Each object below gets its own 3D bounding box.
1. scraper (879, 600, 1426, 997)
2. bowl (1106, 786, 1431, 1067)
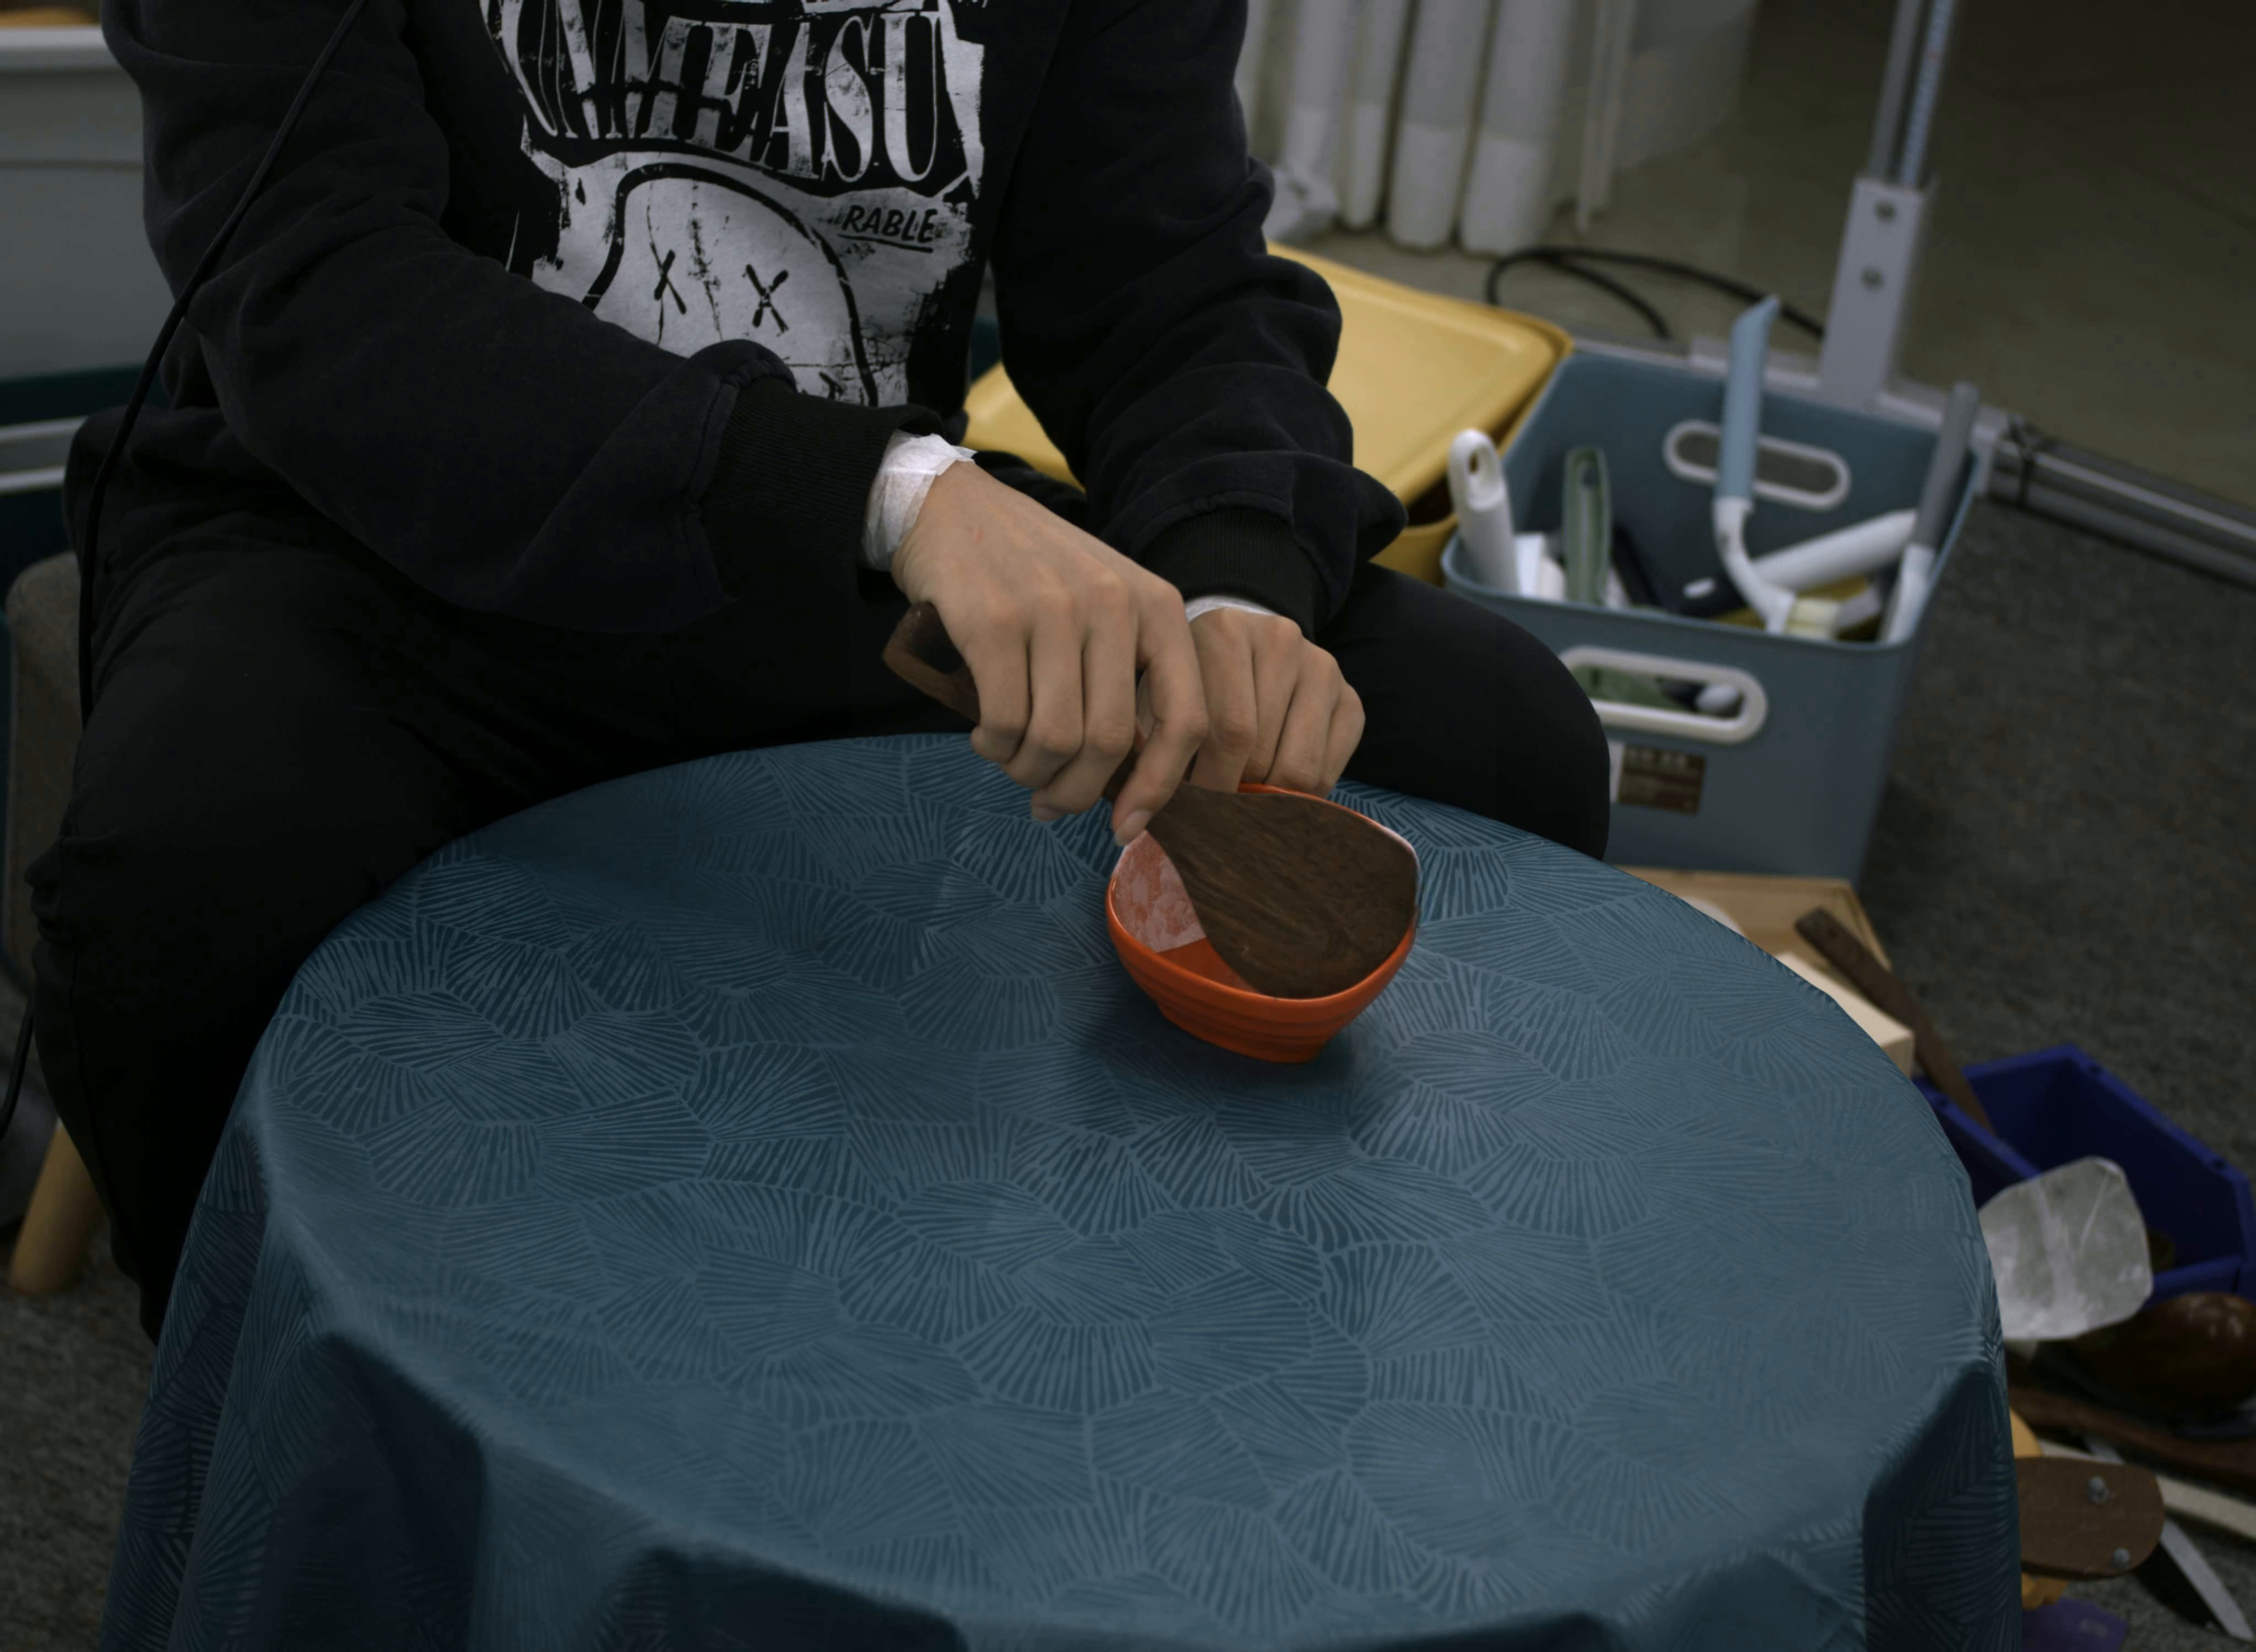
[{"bbox_3d":[0.004,-0.012,1.860,0.210,0.076,0.011,34,5,-7],"label":"scraper"},{"bbox_3d":[0.049,0.042,1.903,0.118,0.051,0.120,1,42,-2],"label":"bowl"}]
